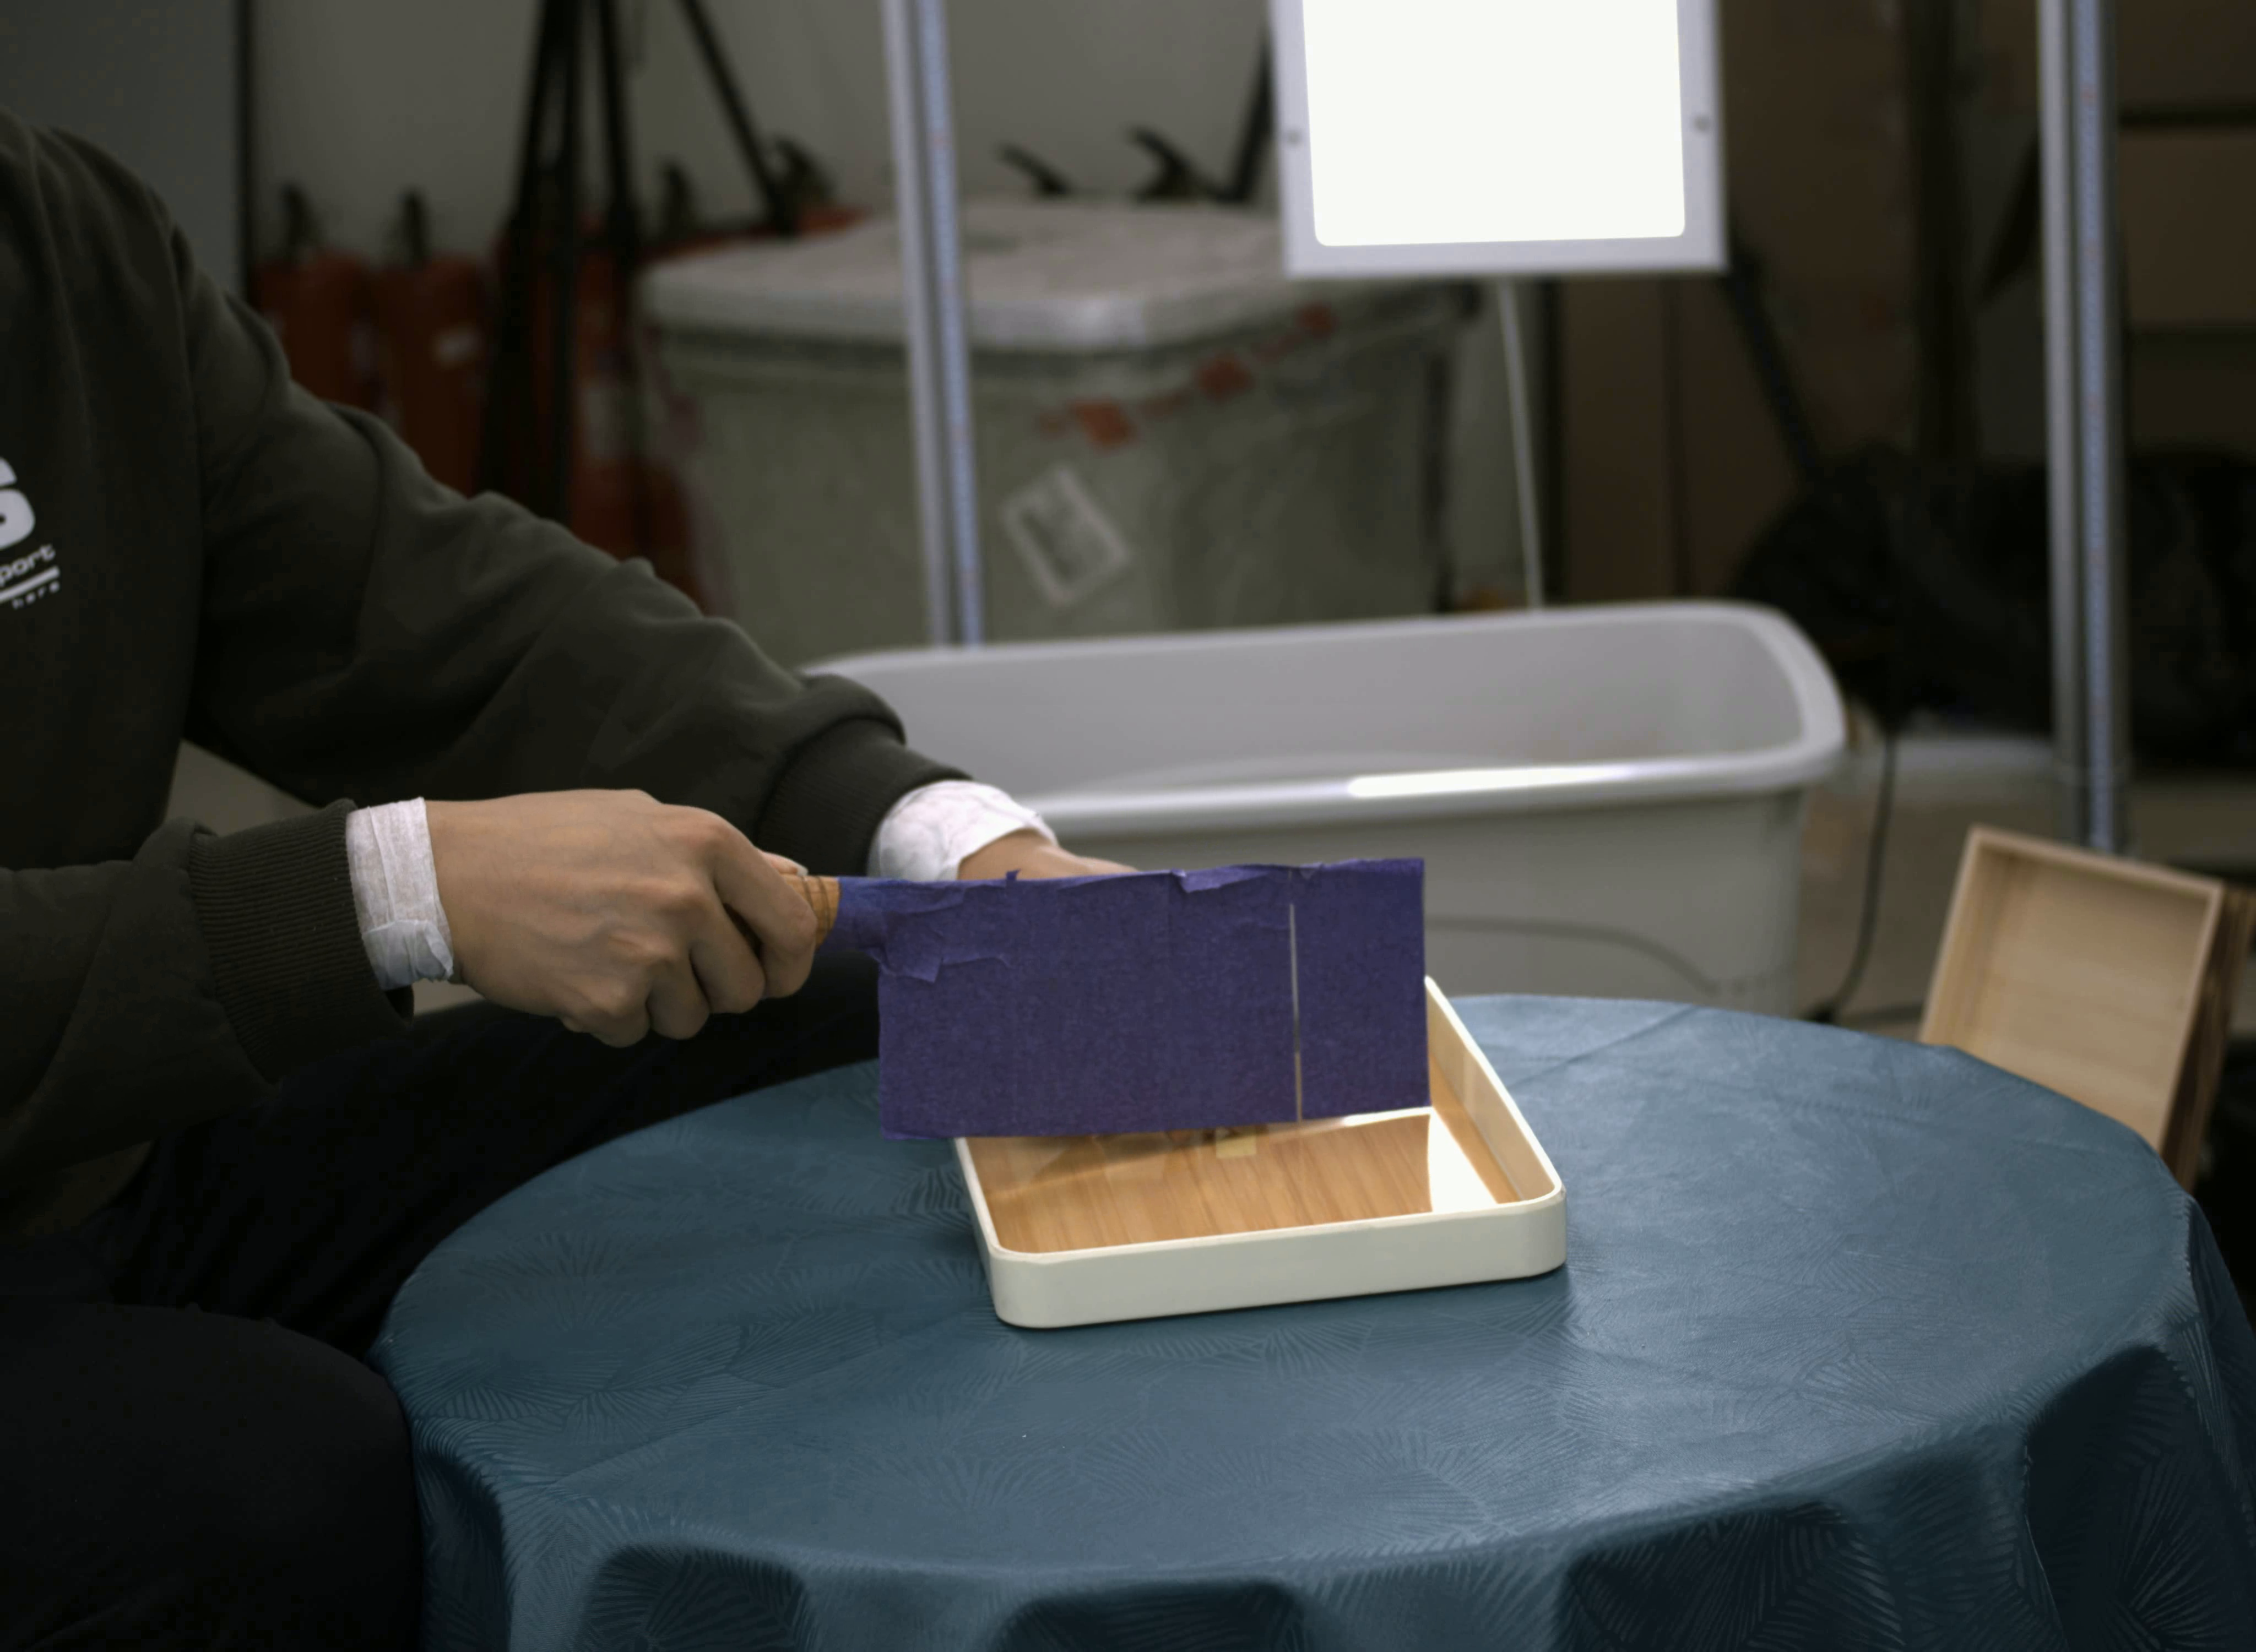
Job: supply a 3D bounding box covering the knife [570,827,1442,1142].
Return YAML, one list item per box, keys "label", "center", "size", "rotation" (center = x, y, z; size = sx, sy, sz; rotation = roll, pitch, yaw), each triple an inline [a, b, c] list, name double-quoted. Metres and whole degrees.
- label: "knife"
  center: [-0.035, 0.060, 1.892]
  size: [0.310, 0.104, 0.032]
  rotation: [-3, 4, -17]

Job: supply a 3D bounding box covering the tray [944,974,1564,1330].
- label: "tray"
  center: [0.034, 0.108, 1.909]
  size: [0.190, 0.027, 0.301]
  rotation: [-6, 14, -4]
